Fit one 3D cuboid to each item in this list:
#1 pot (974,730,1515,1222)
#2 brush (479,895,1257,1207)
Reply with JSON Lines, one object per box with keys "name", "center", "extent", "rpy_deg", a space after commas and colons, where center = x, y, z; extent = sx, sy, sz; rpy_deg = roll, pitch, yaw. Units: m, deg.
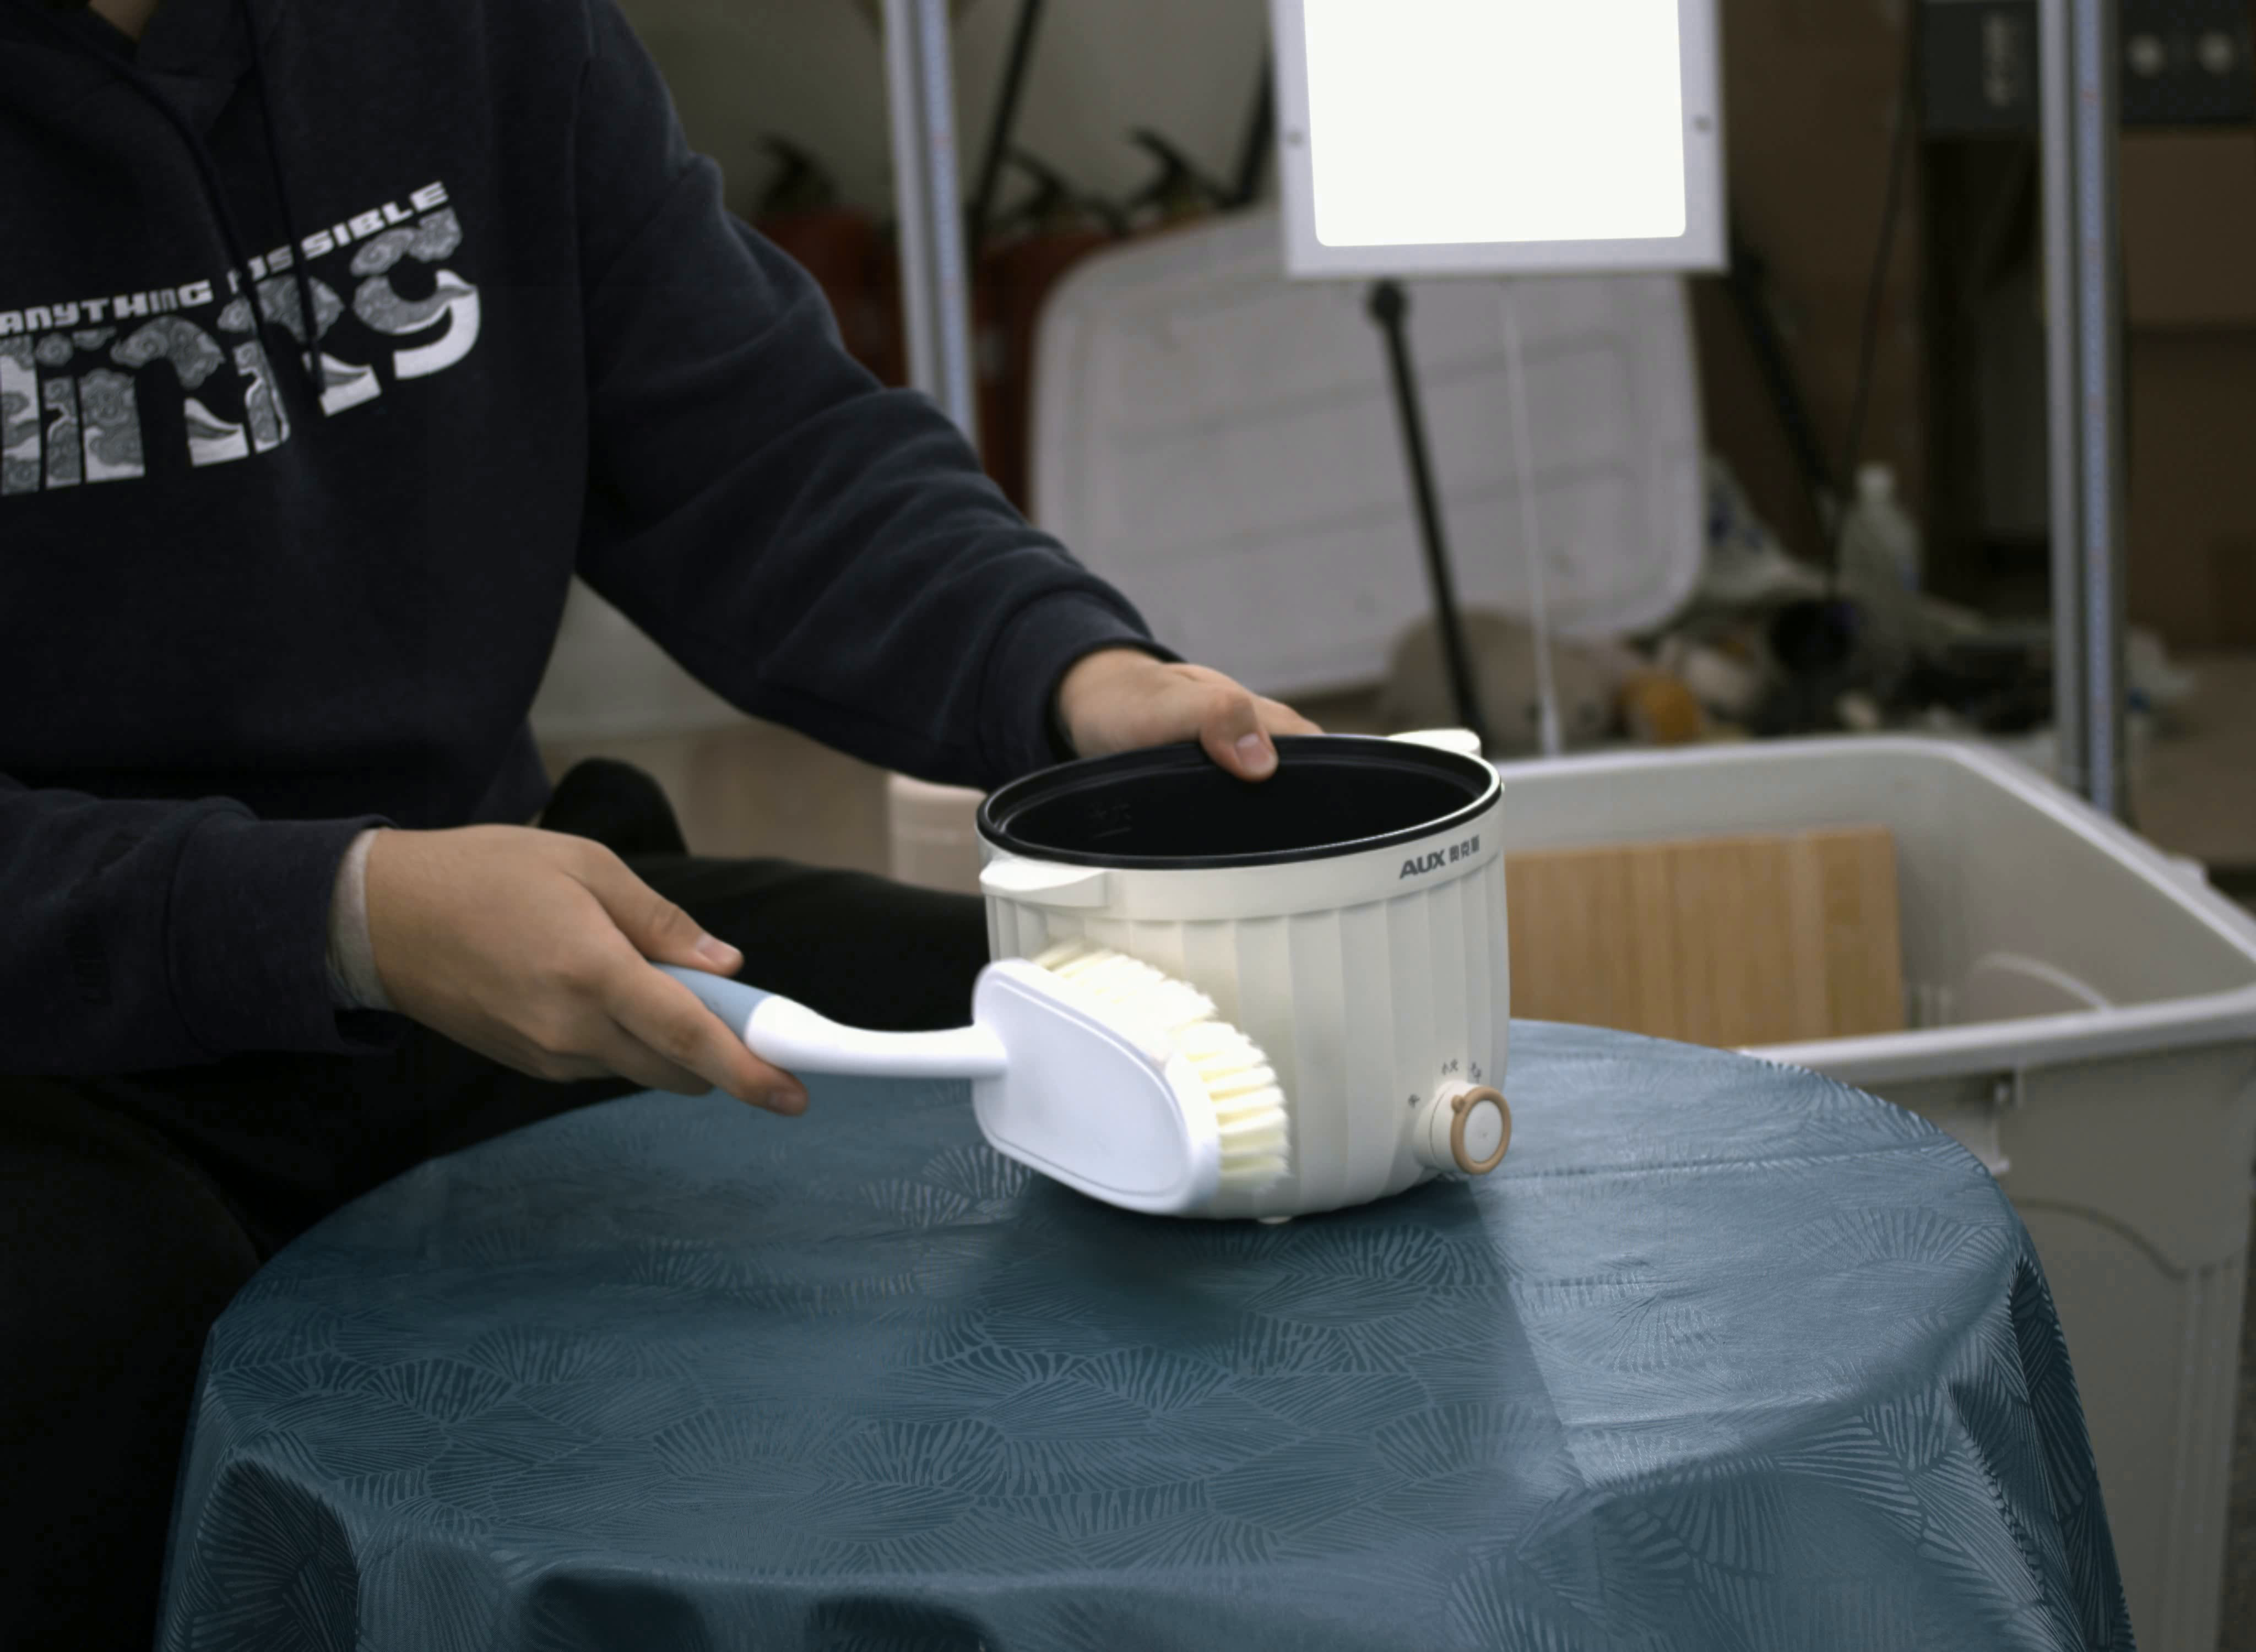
{"name": "pot", "center": [0.047, 0.053, 1.890], "extent": [0.195, 0.143, 0.234], "rpy_deg": [4, 17, 44]}
{"name": "brush", "center": [-0.081, 0.057, 1.845], "extent": [0.332, 0.083, 0.083], "rpy_deg": [16, -13, 38]}
